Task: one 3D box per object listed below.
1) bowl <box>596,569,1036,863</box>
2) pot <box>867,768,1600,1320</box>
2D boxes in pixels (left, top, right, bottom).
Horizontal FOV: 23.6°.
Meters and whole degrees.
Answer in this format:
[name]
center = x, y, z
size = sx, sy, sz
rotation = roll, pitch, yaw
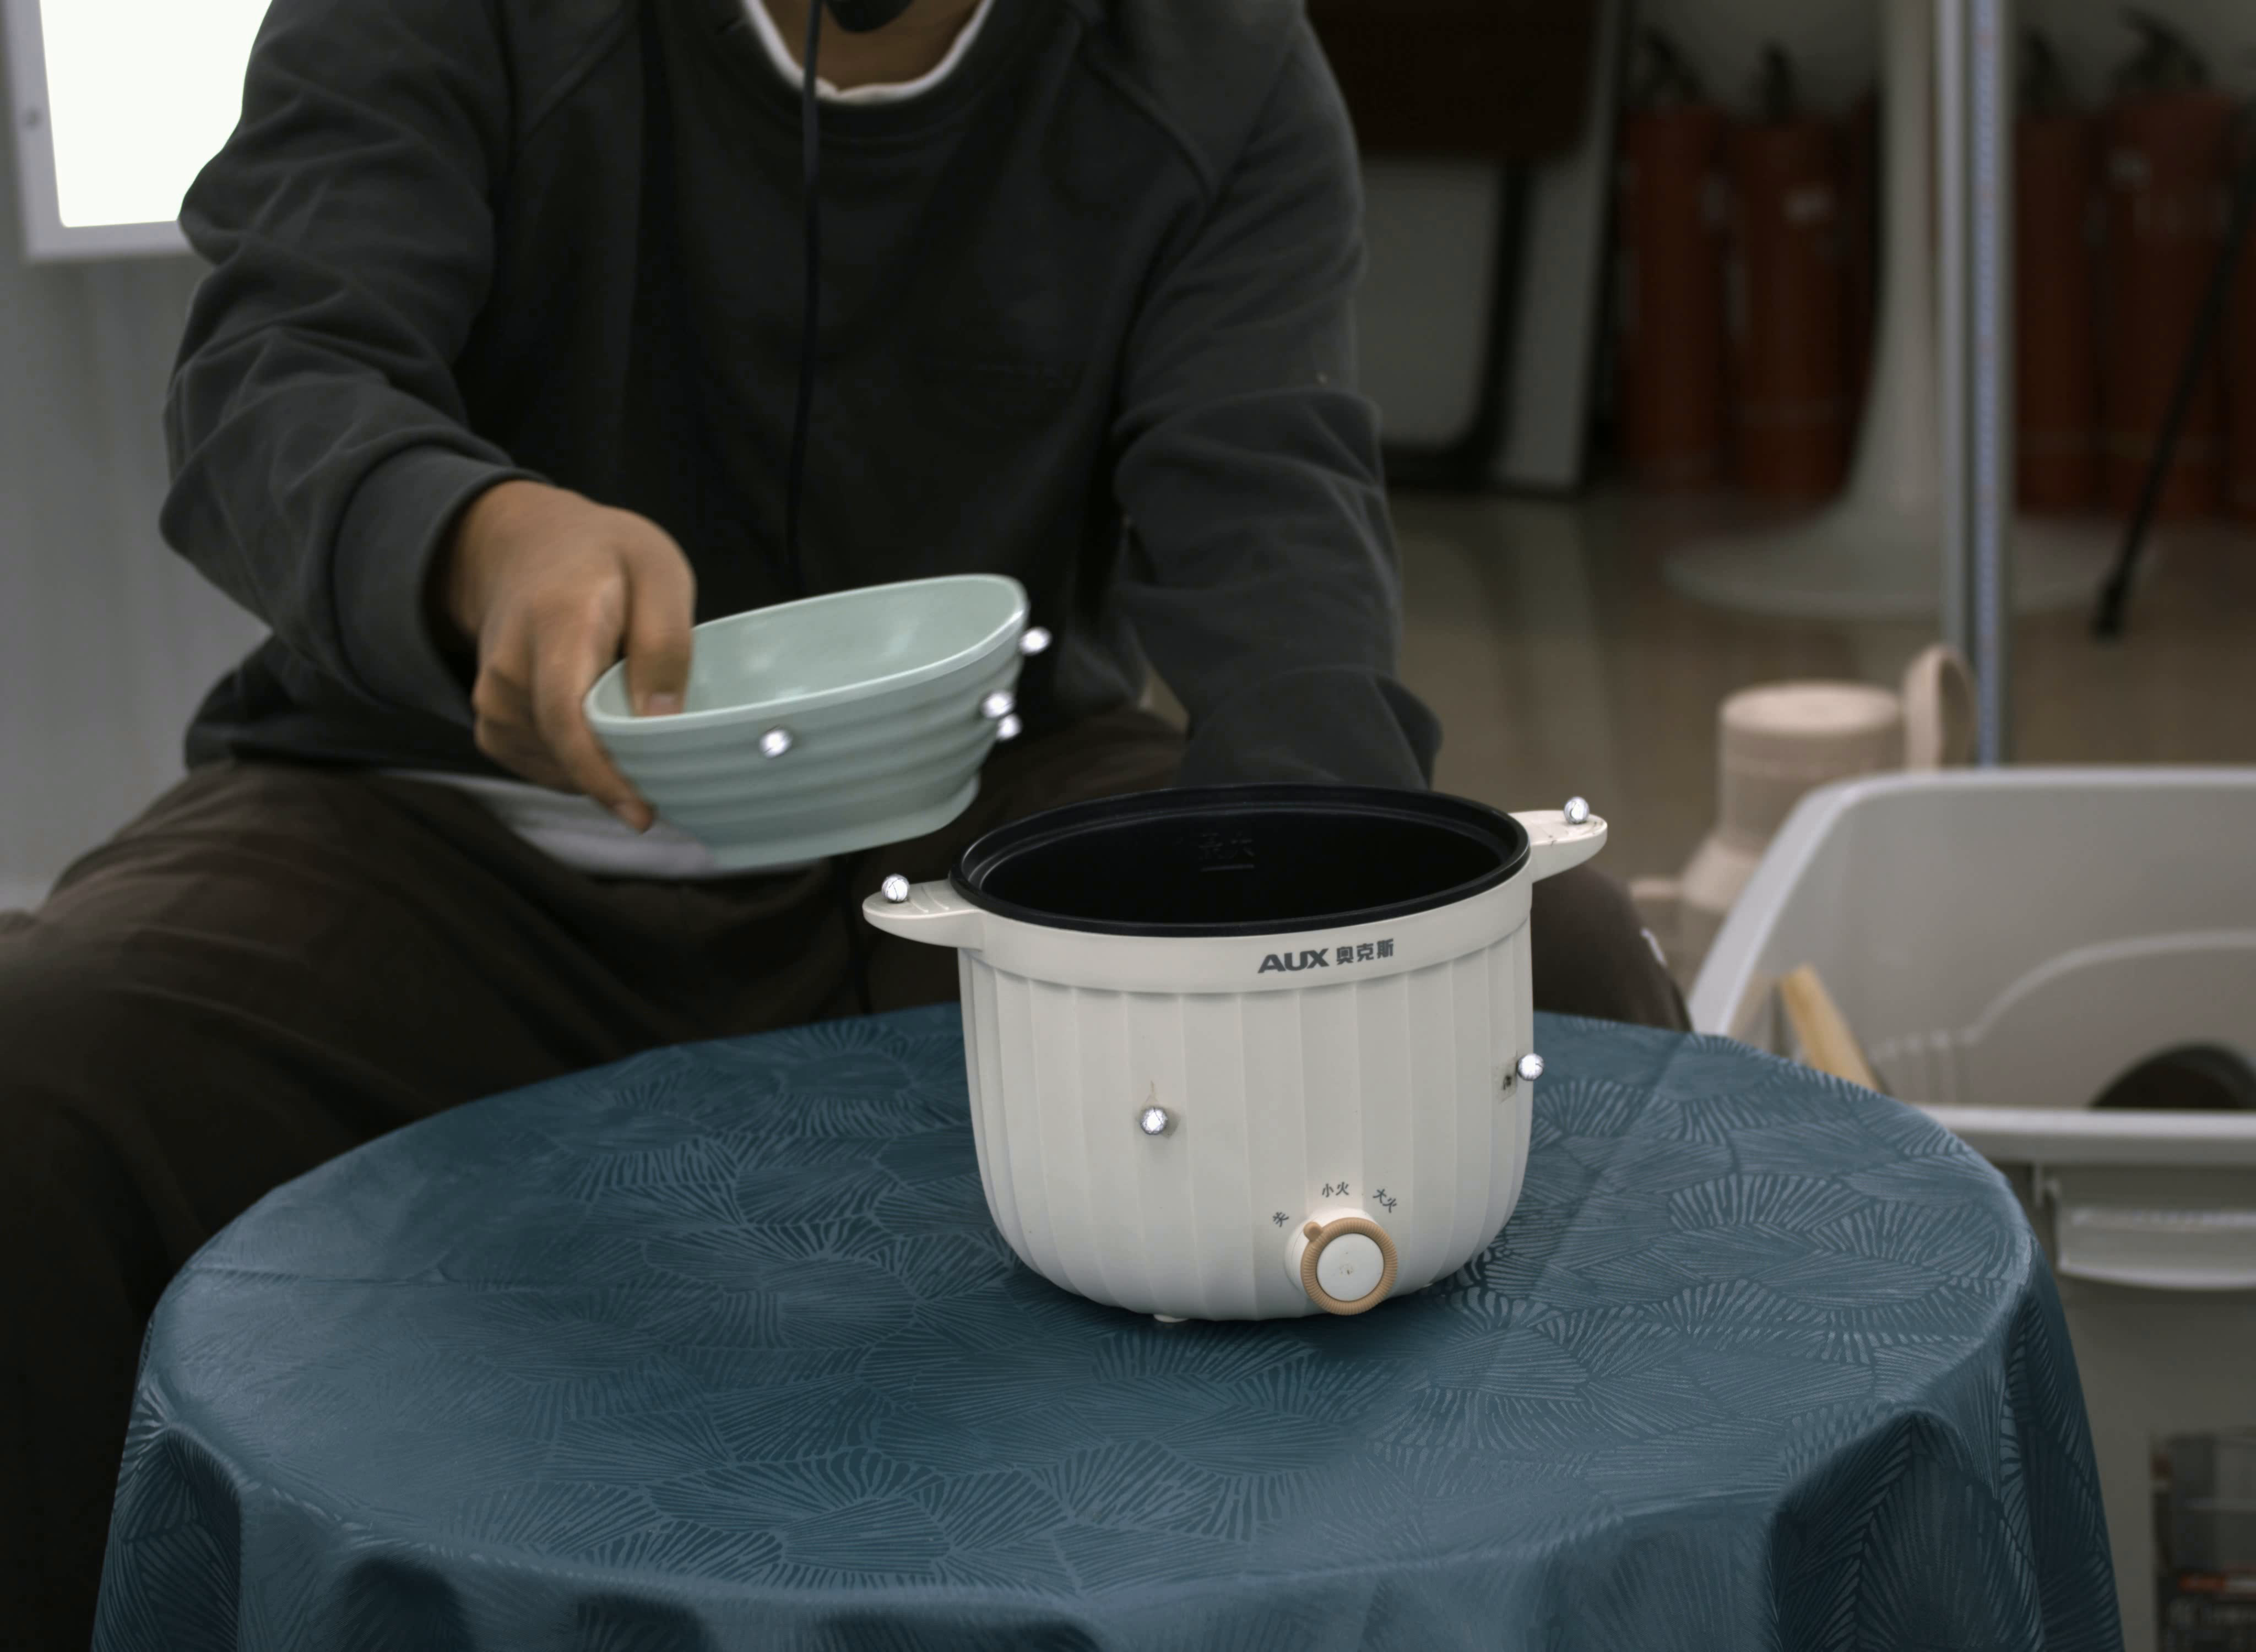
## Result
[bowl]
center = -0.092, -0.031, 1.681
size = 0.150, 0.059, 0.152
rotation = -11, 15, 2
[pot]
center = 0.042, 0.070, 1.675
size = 0.236, 0.144, 0.192
rotation = -9, 11, -14
